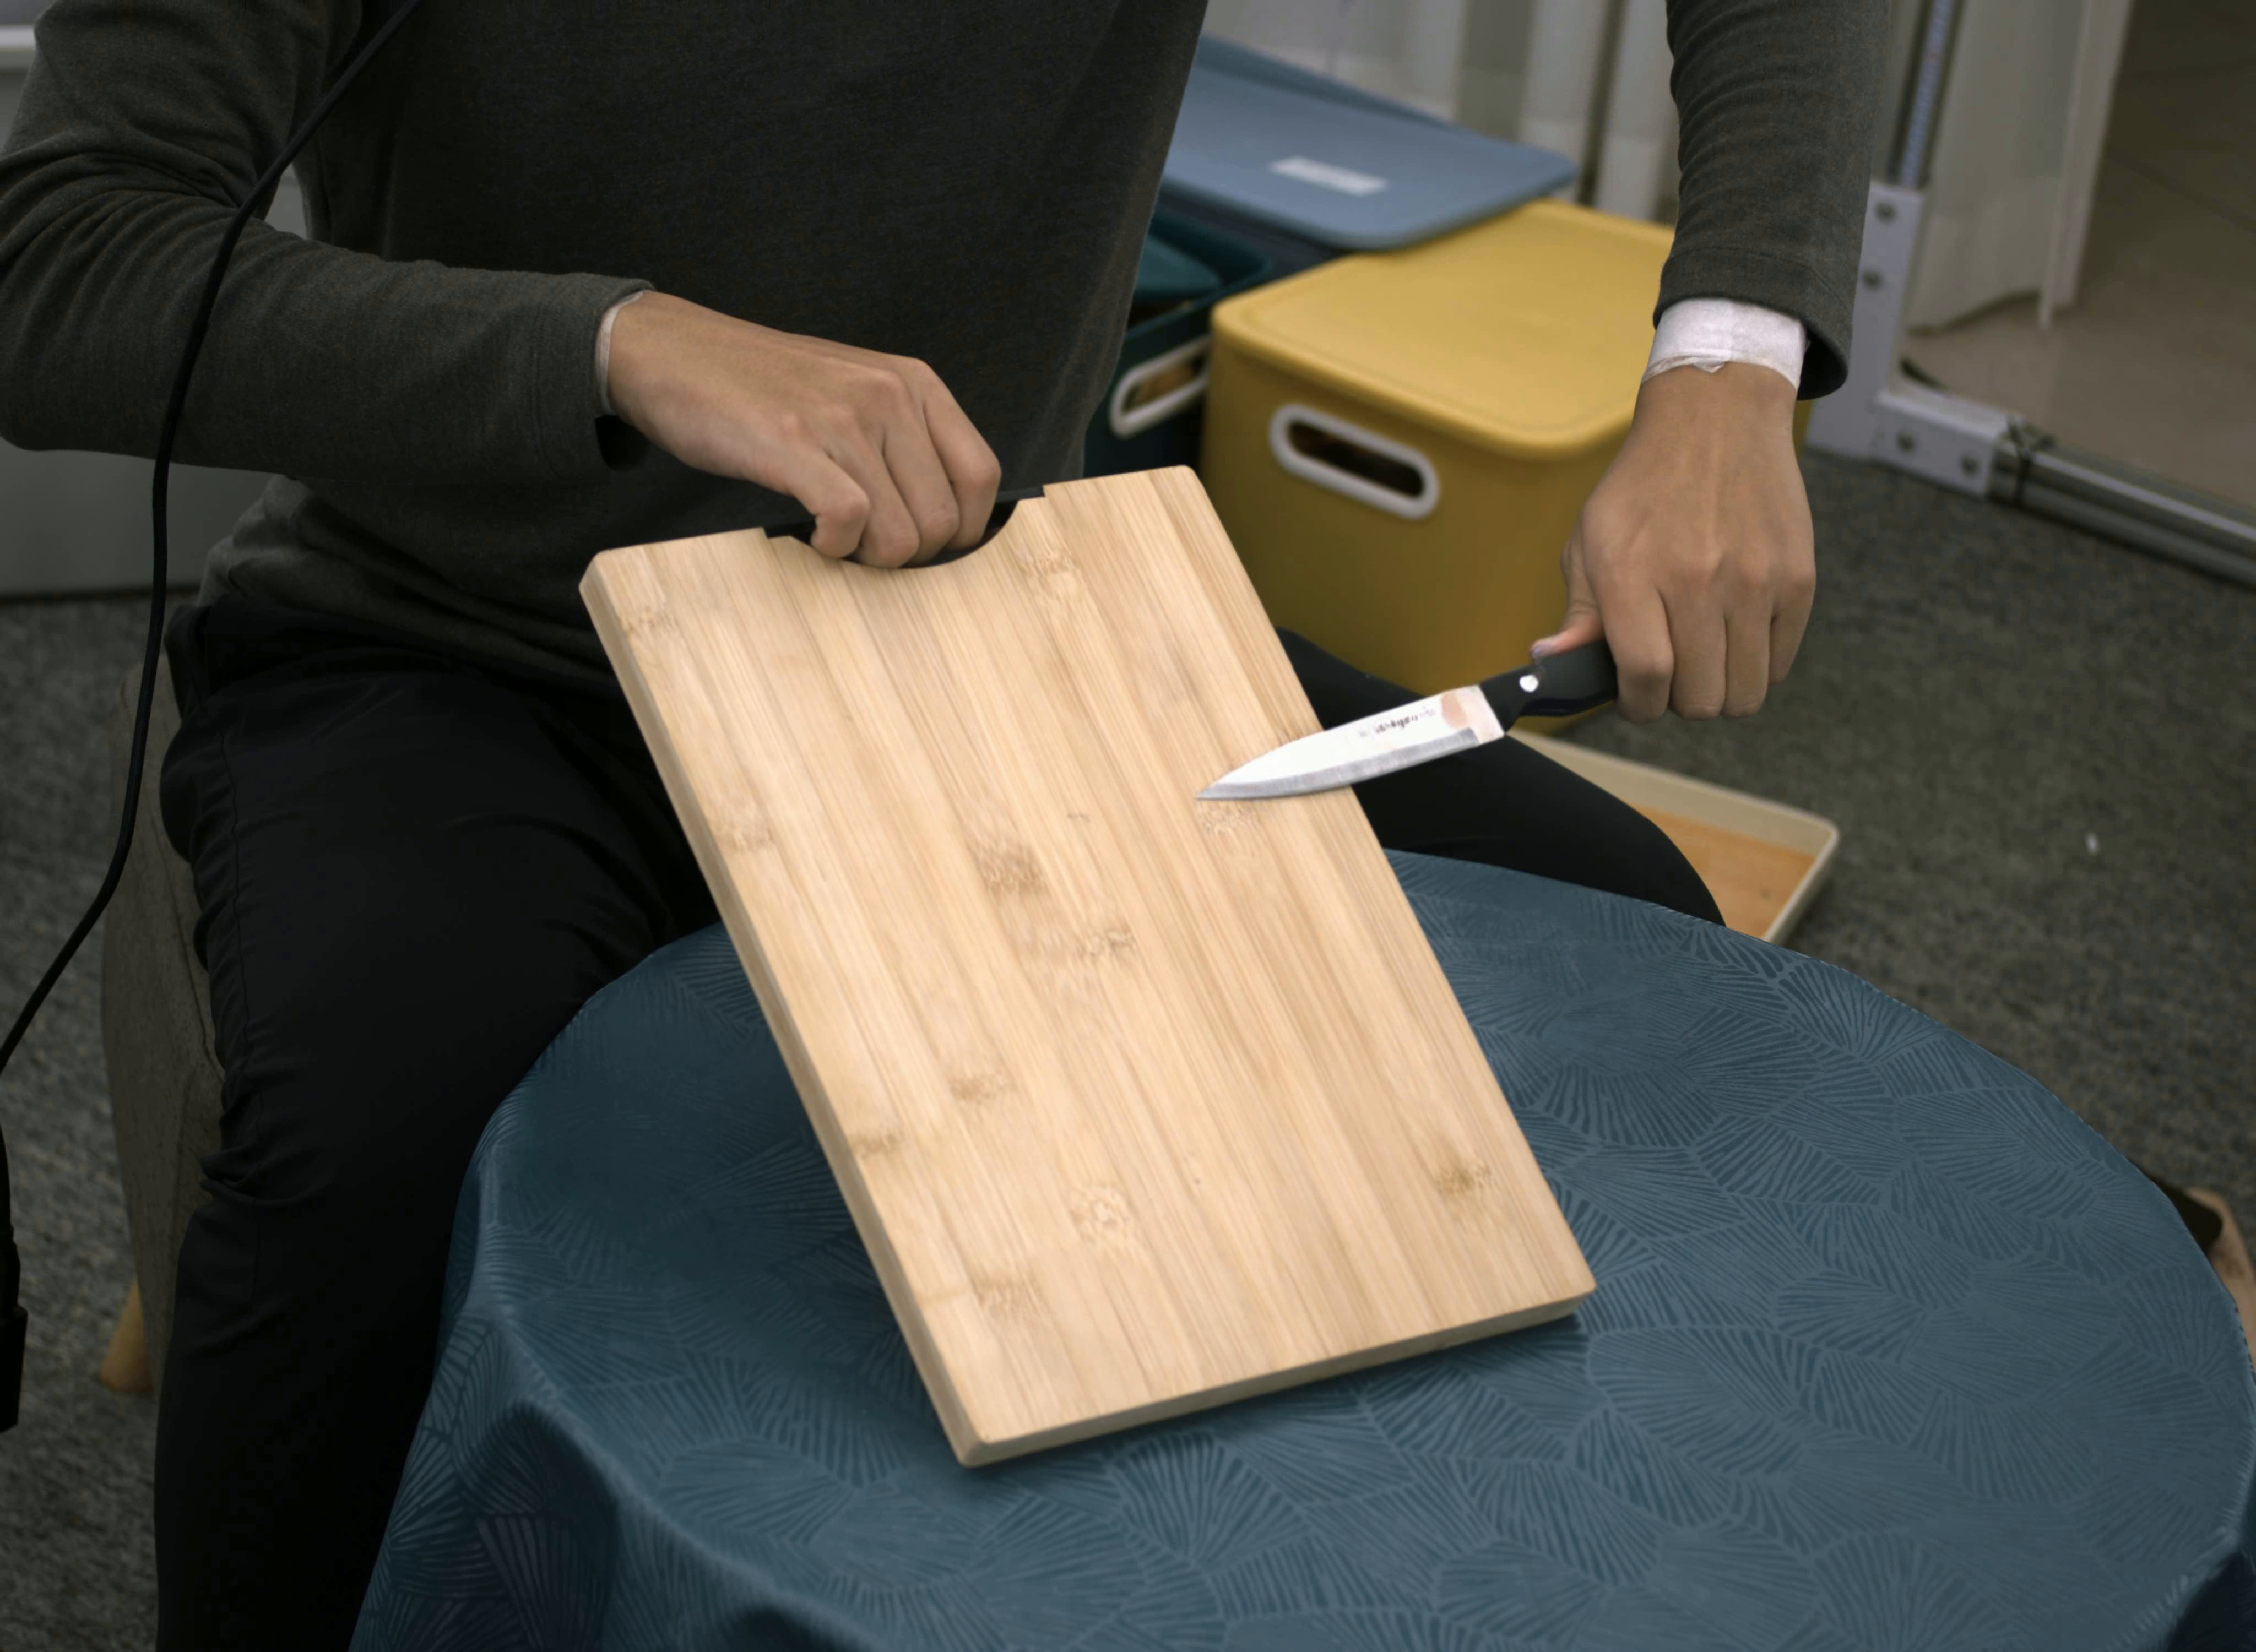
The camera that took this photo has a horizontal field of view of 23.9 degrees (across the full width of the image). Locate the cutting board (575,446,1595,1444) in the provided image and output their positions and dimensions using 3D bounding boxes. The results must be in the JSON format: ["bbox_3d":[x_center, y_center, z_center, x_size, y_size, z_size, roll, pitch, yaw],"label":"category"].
[{"bbox_3d":[-0.017,0.031,1.771,0.249,0.023,0.351,-11,62,-31],"label":"cutting board"}]

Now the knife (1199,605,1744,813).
[{"bbox_3d":[0.120,-0.041,1.864,0.237,0.016,0.024,-19,70,-30],"label":"knife"}]
